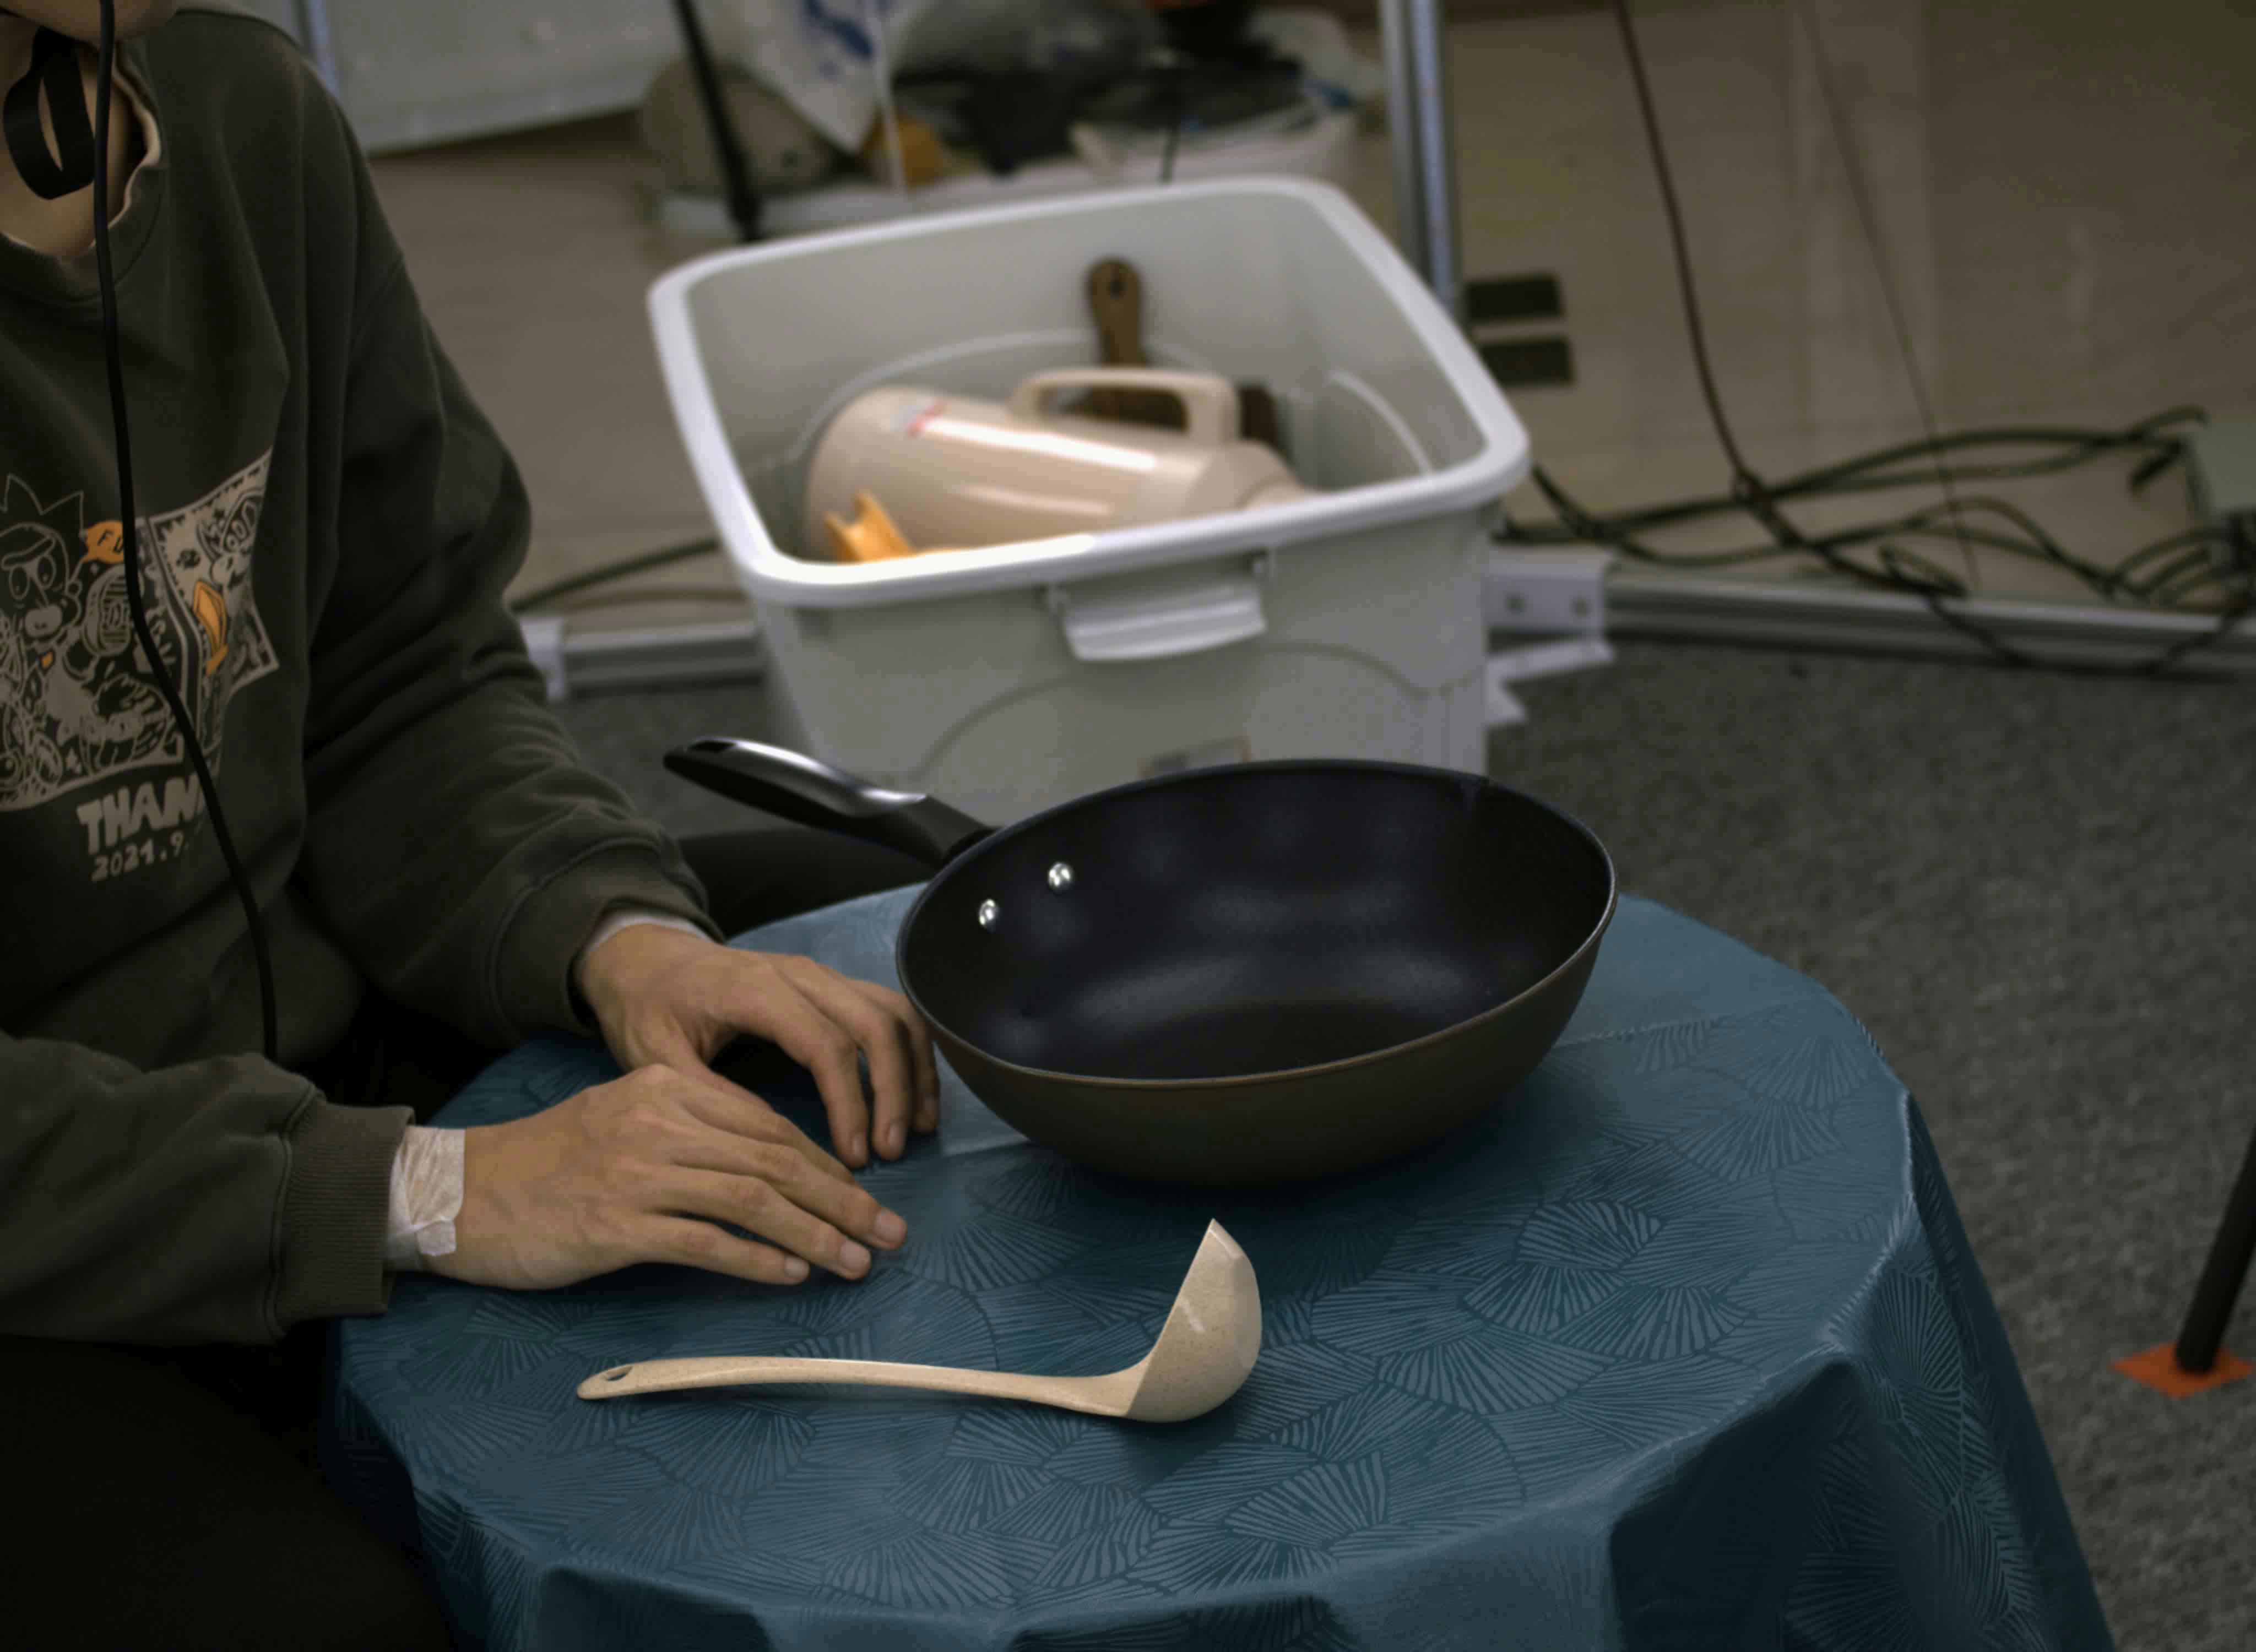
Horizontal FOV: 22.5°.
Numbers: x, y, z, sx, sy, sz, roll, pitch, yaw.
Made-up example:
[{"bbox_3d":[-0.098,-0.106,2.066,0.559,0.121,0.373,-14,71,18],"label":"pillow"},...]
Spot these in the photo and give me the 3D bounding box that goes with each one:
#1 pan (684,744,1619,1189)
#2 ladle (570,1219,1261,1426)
[{"bbox_3d":[-0.014,0.049,2.245,0.460,0.088,0.285,15,33,41],"label":"pan"},{"bbox_3d":[-0.080,0.173,2.005,0.254,0.074,0.071,0,30,11],"label":"ladle"}]
